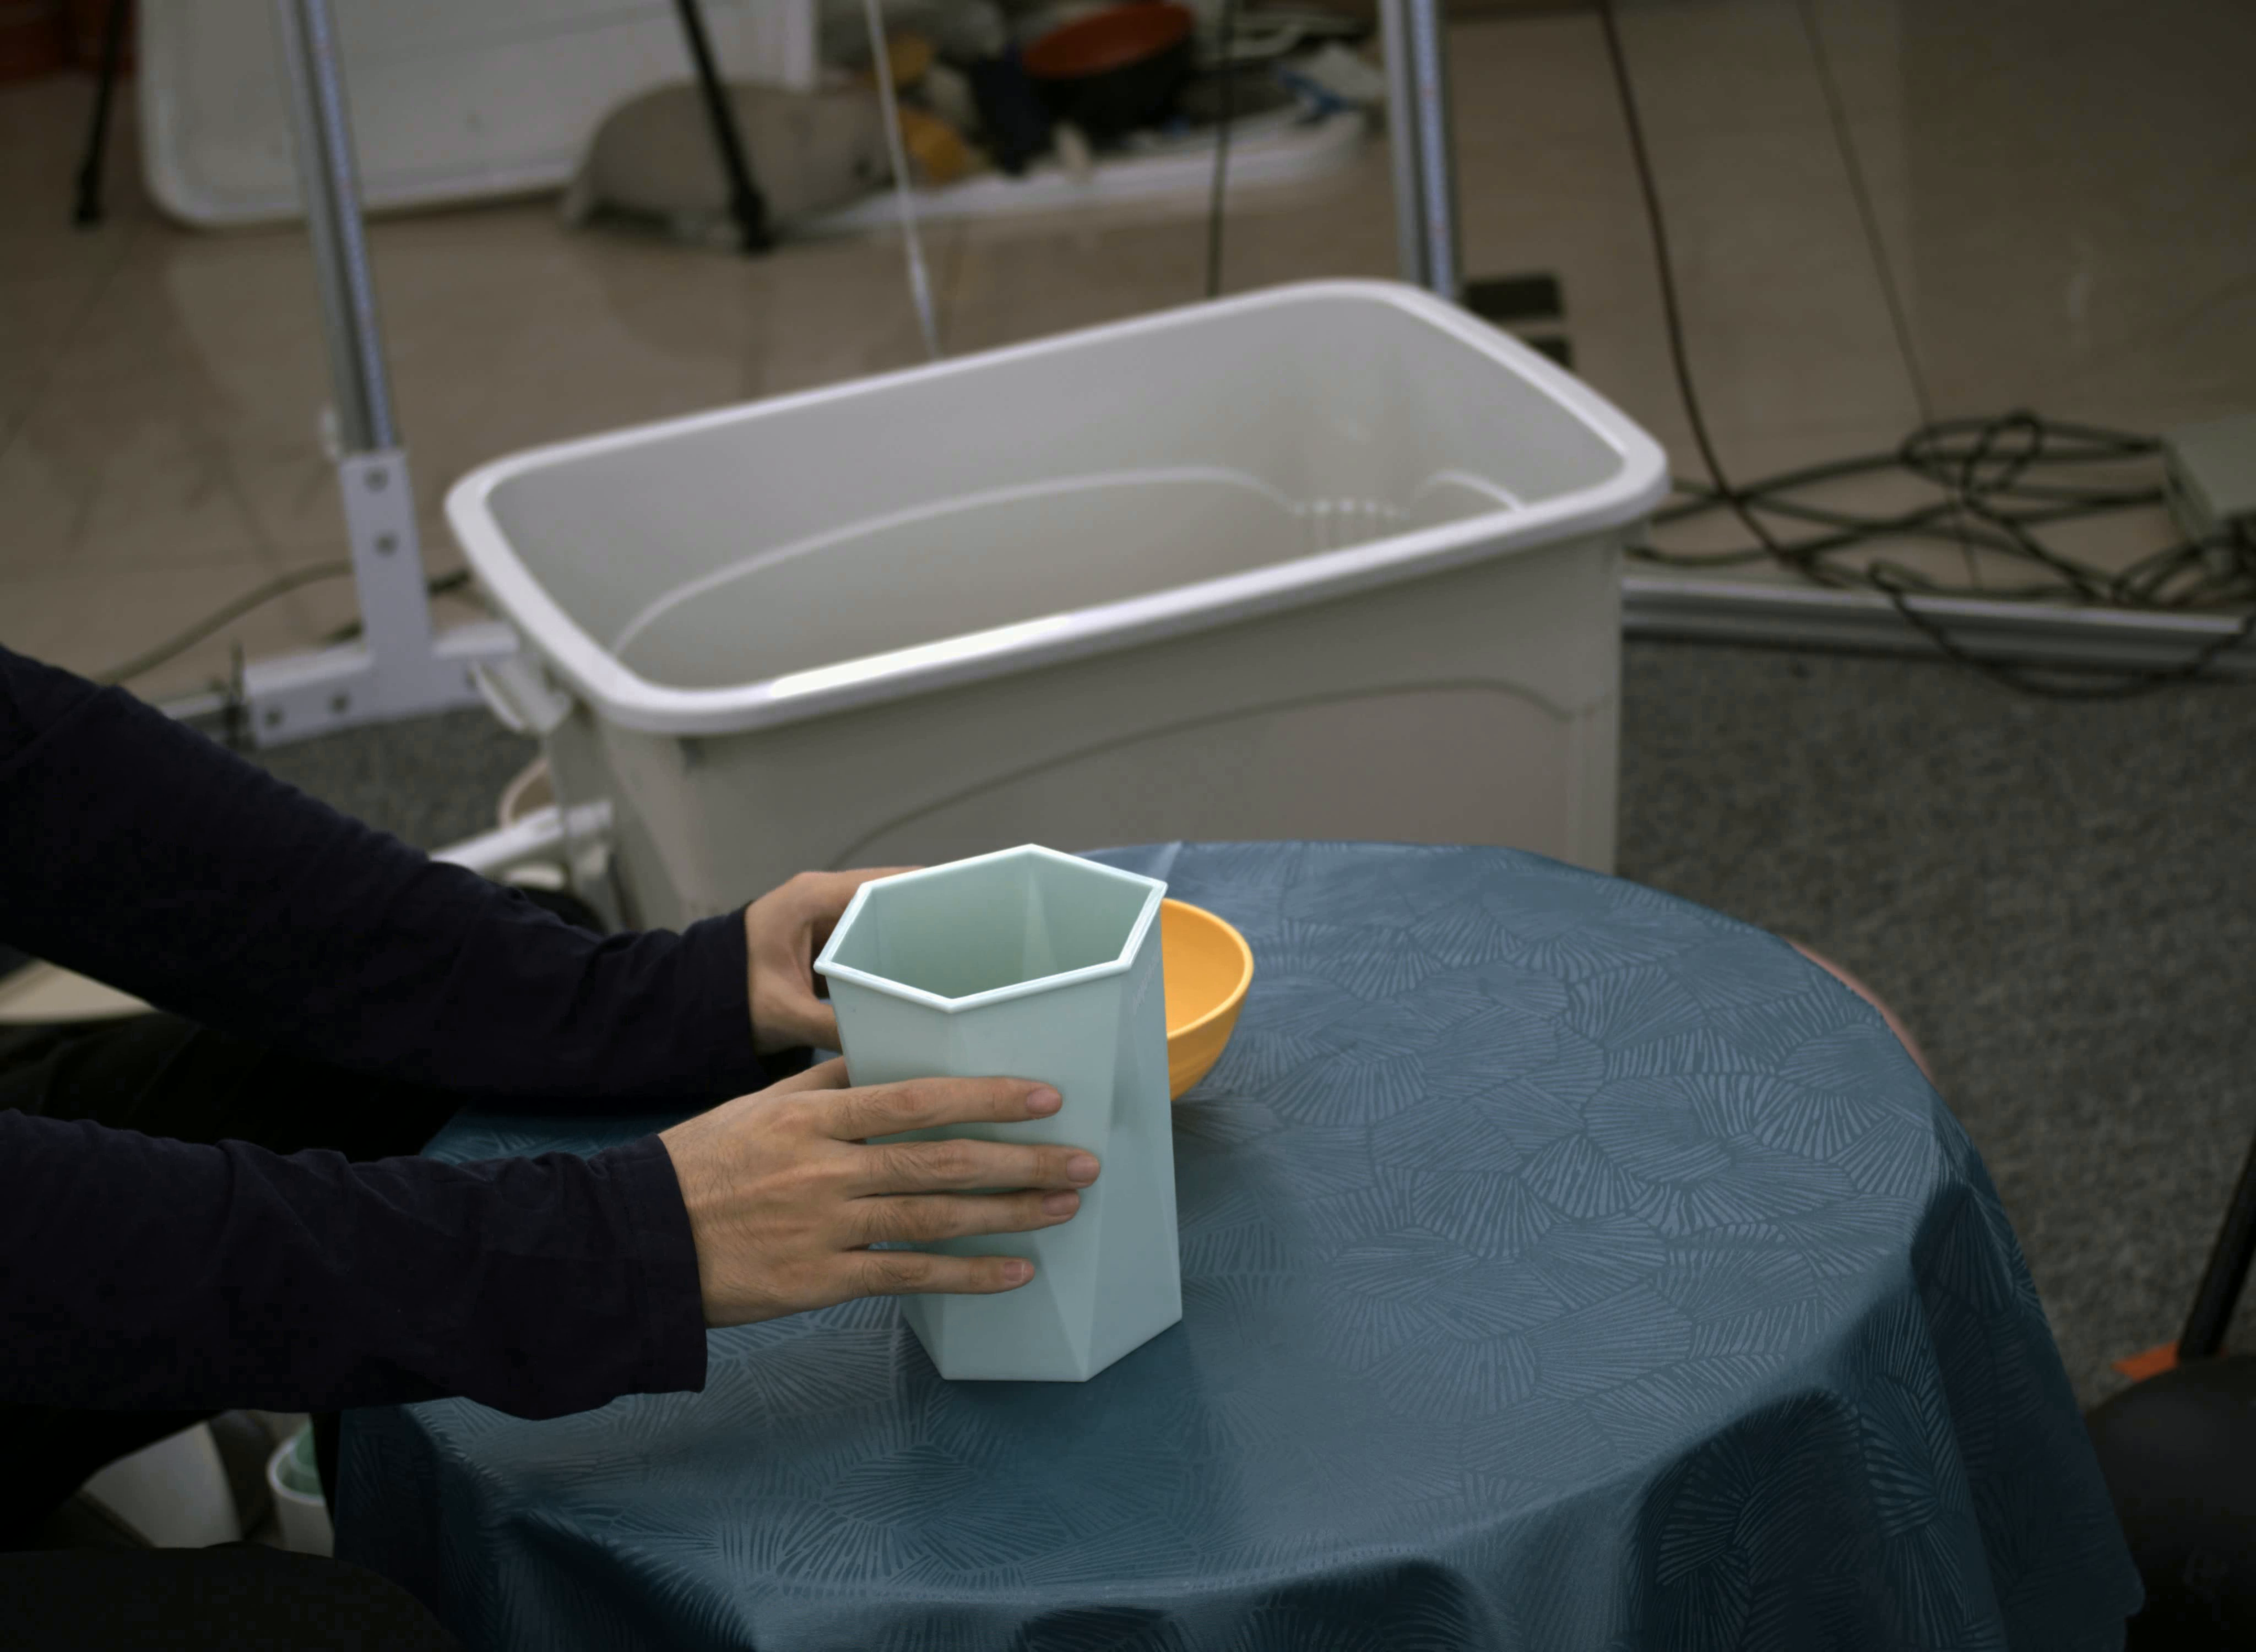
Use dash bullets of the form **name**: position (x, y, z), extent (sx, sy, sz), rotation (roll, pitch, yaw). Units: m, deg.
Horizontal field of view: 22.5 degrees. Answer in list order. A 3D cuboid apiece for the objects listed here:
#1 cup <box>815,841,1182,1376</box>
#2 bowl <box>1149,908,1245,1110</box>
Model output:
- **cup**: position (-0.039, 0.104, 2.033), extent (0.115, 0.165, 0.129), rotation (-2, 25, 12)
- **bowl**: position (-0.024, 0.086, 2.202), extent (0.145, 0.061, 0.143), rotation (-6, 24, 3)
